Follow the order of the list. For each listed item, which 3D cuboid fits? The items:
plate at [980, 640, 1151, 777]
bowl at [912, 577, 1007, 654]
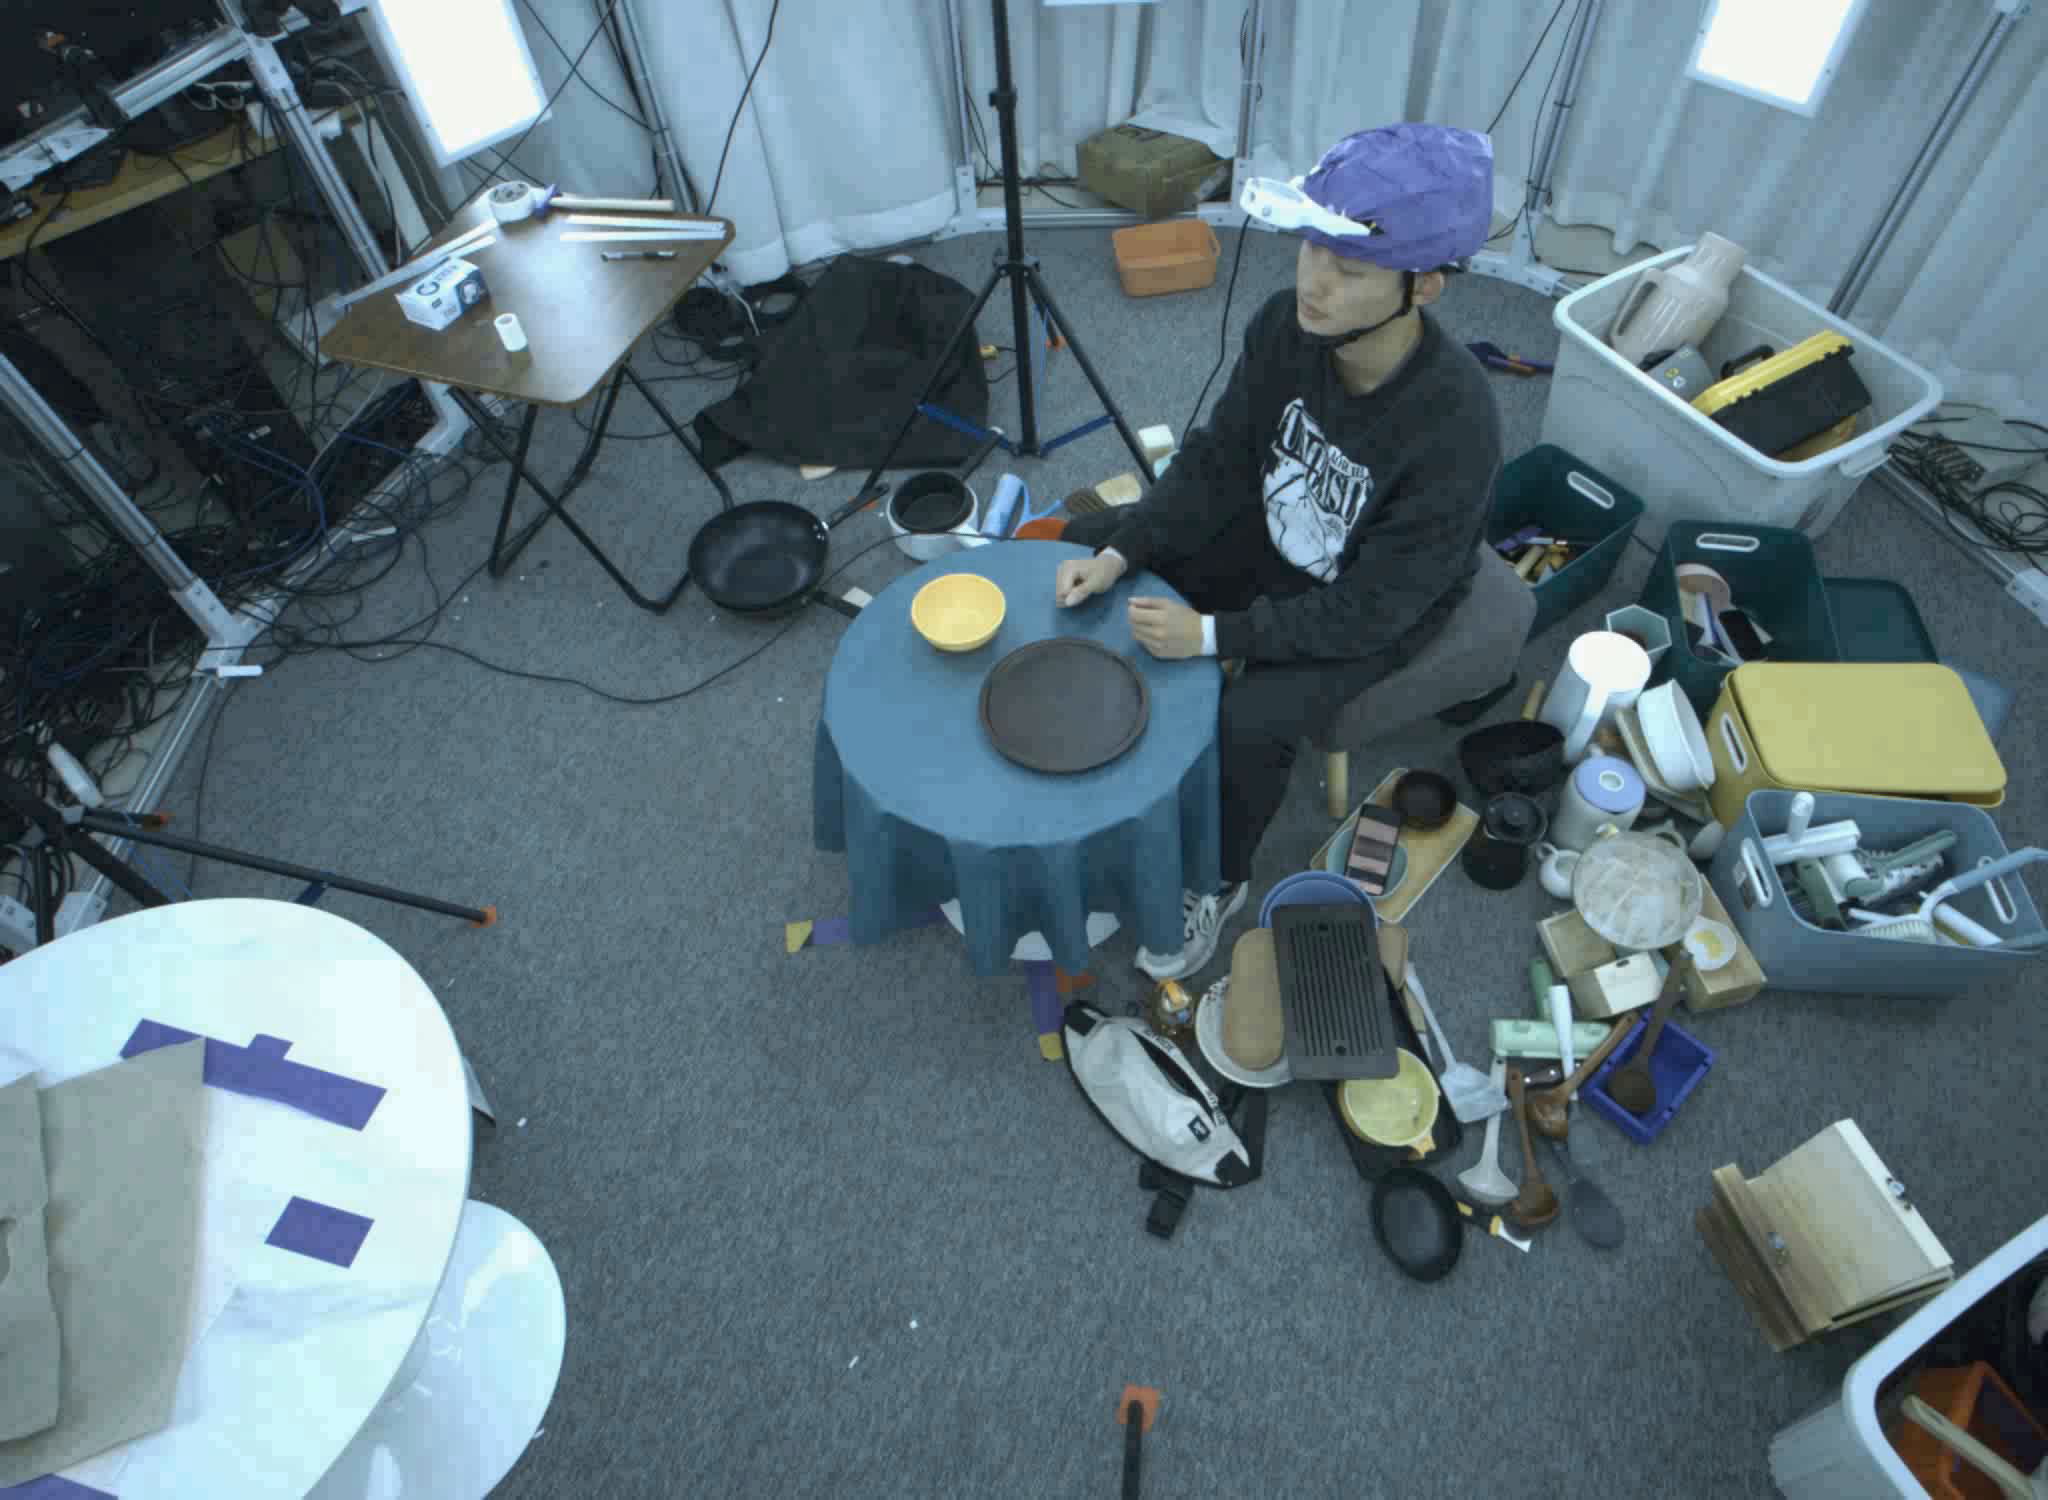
[{"bbox_3d":[0.061,-0.062,1.826,0.254,0.029,0.252,0,53,2],"label":"plate"},{"bbox_3d":[-0.099,-0.197,1.905,0.145,0.060,0.144,1,55,-1],"label":"bowl"}]
